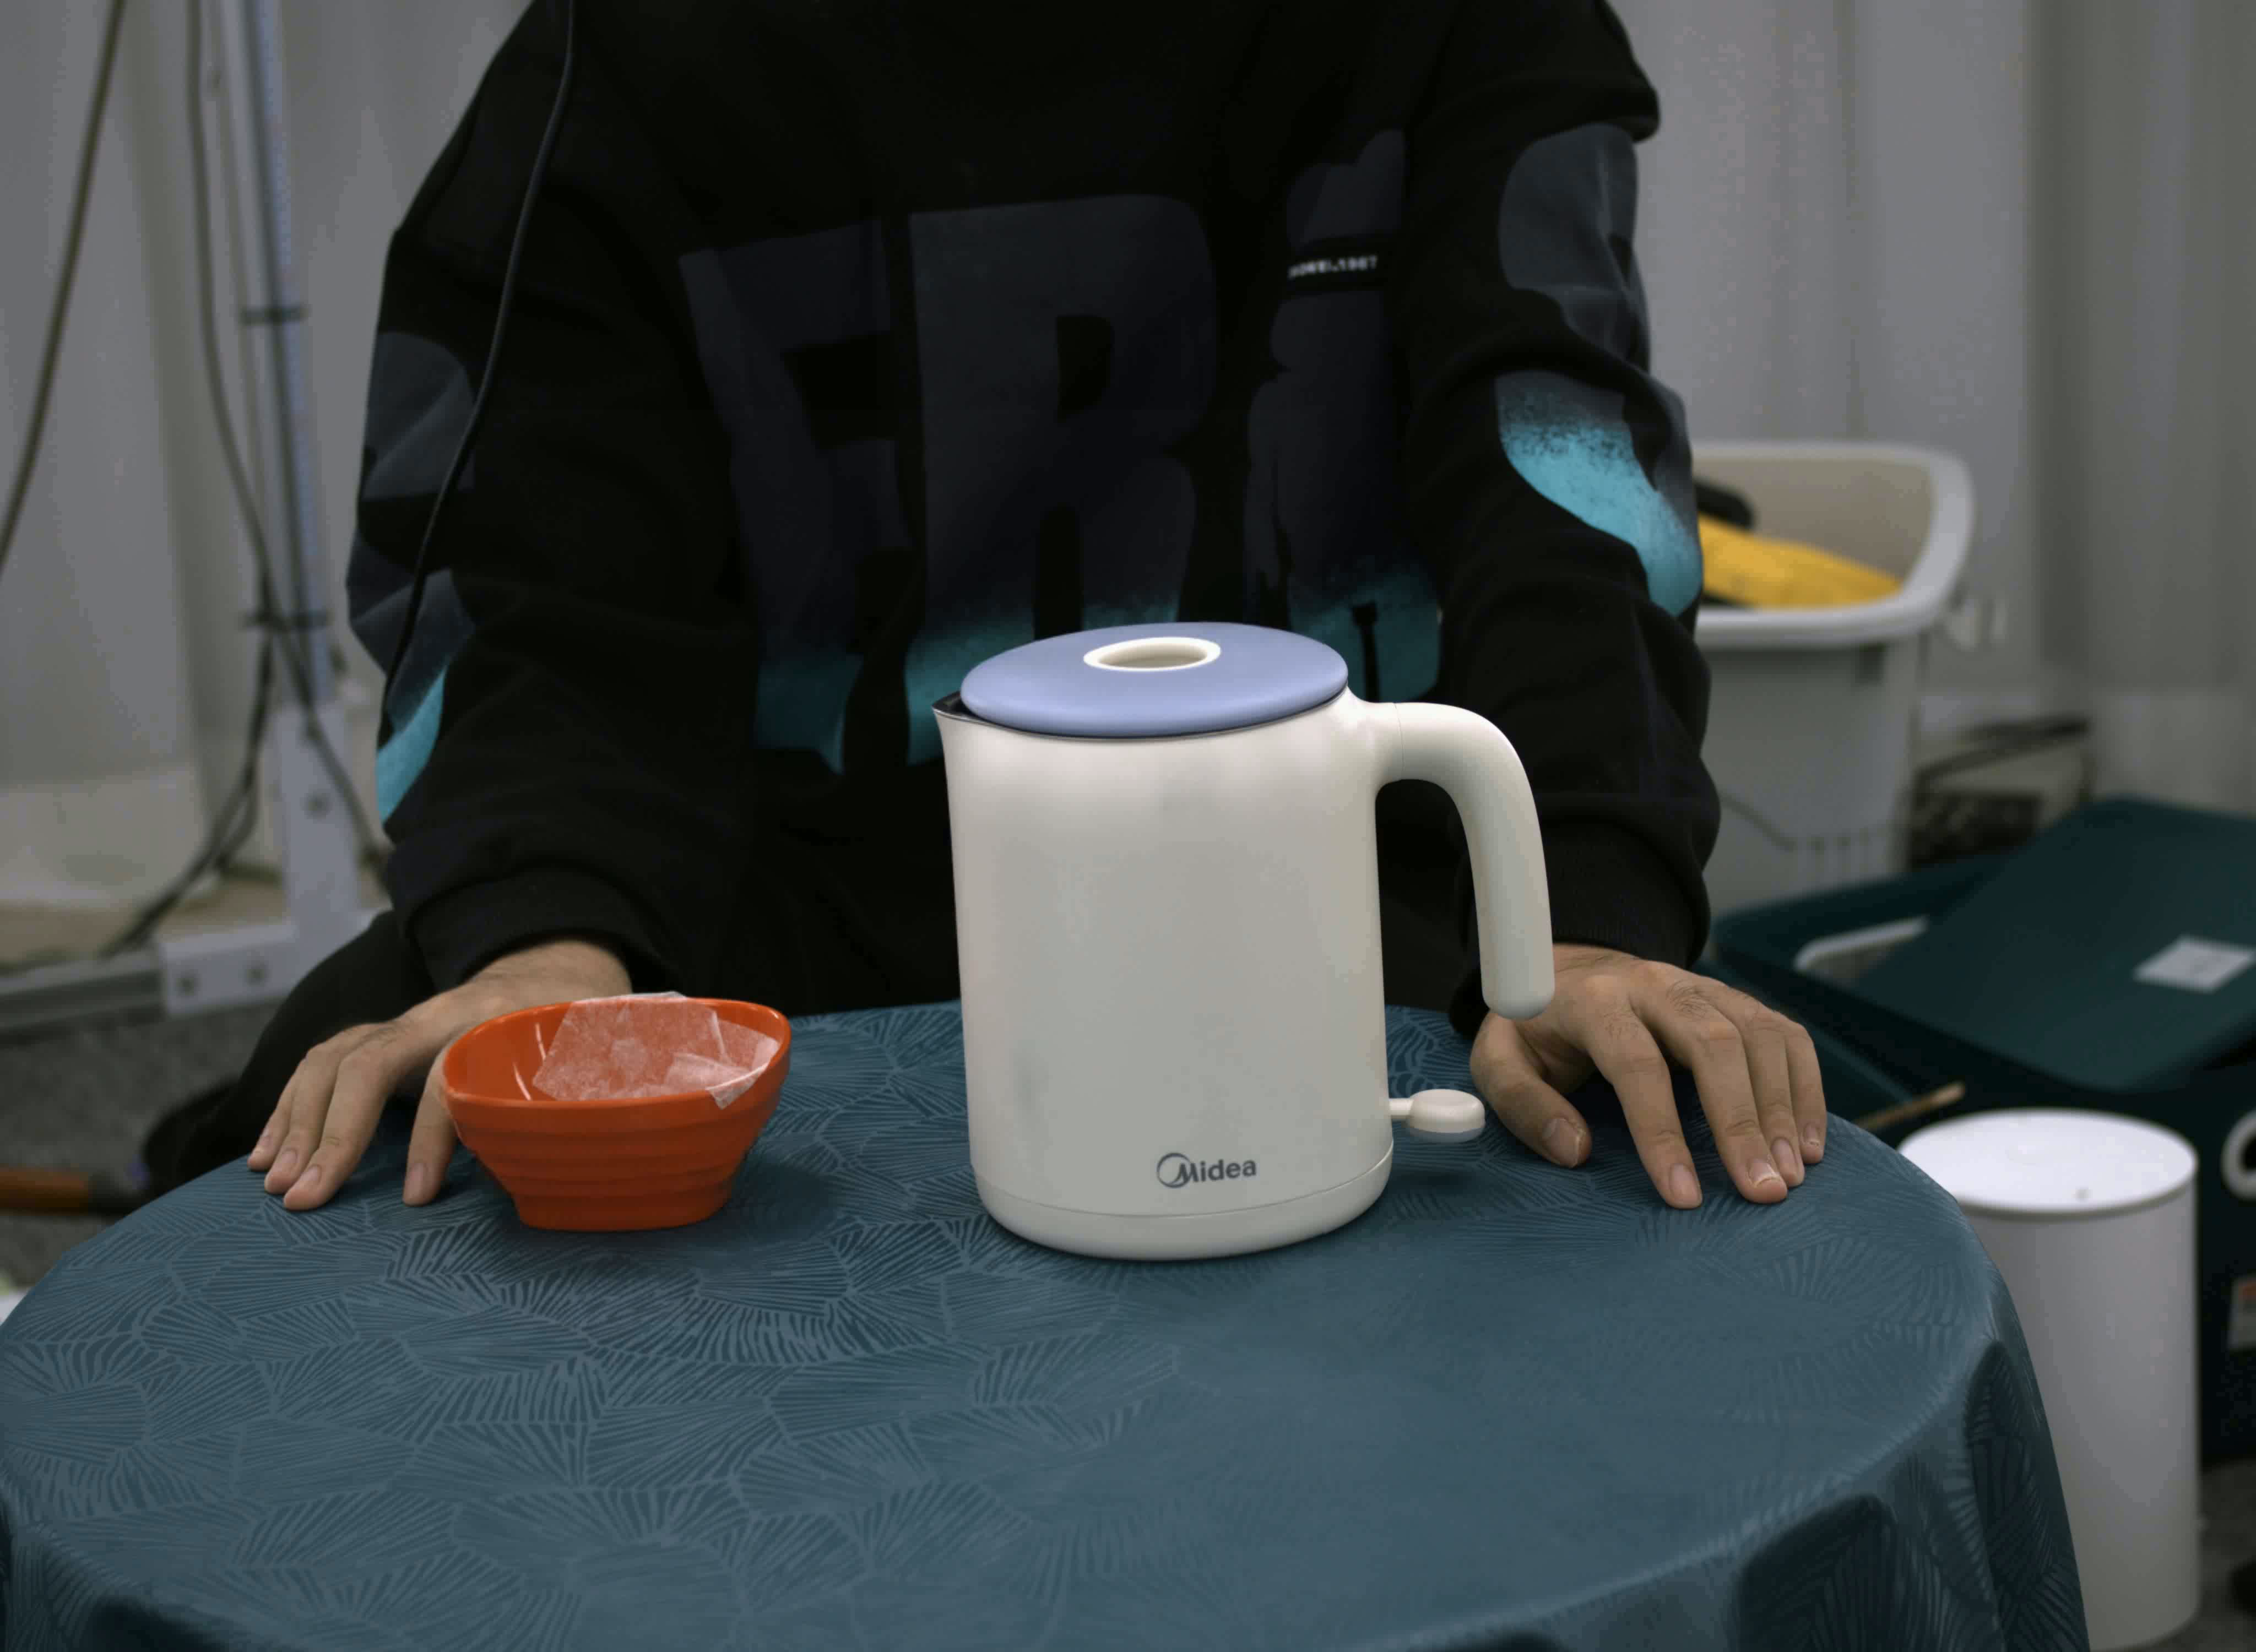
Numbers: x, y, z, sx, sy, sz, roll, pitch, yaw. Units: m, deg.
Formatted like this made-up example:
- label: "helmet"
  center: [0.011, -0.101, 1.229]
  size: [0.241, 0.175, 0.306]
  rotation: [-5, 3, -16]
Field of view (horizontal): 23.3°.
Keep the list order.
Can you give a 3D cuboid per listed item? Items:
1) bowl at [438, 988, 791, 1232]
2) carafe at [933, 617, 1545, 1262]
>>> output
- label: "bowl"
  center: [-0.159, 0.092, 1.727]
  size: [0.118, 0.051, 0.120]
  rotation: [-5, 17, 1]
- label: "carafe"
  center: [0.036, 0.032, 1.688]
  size: [0.190, 0.182, 0.133]
  rotation: [-3, 15, -8]
